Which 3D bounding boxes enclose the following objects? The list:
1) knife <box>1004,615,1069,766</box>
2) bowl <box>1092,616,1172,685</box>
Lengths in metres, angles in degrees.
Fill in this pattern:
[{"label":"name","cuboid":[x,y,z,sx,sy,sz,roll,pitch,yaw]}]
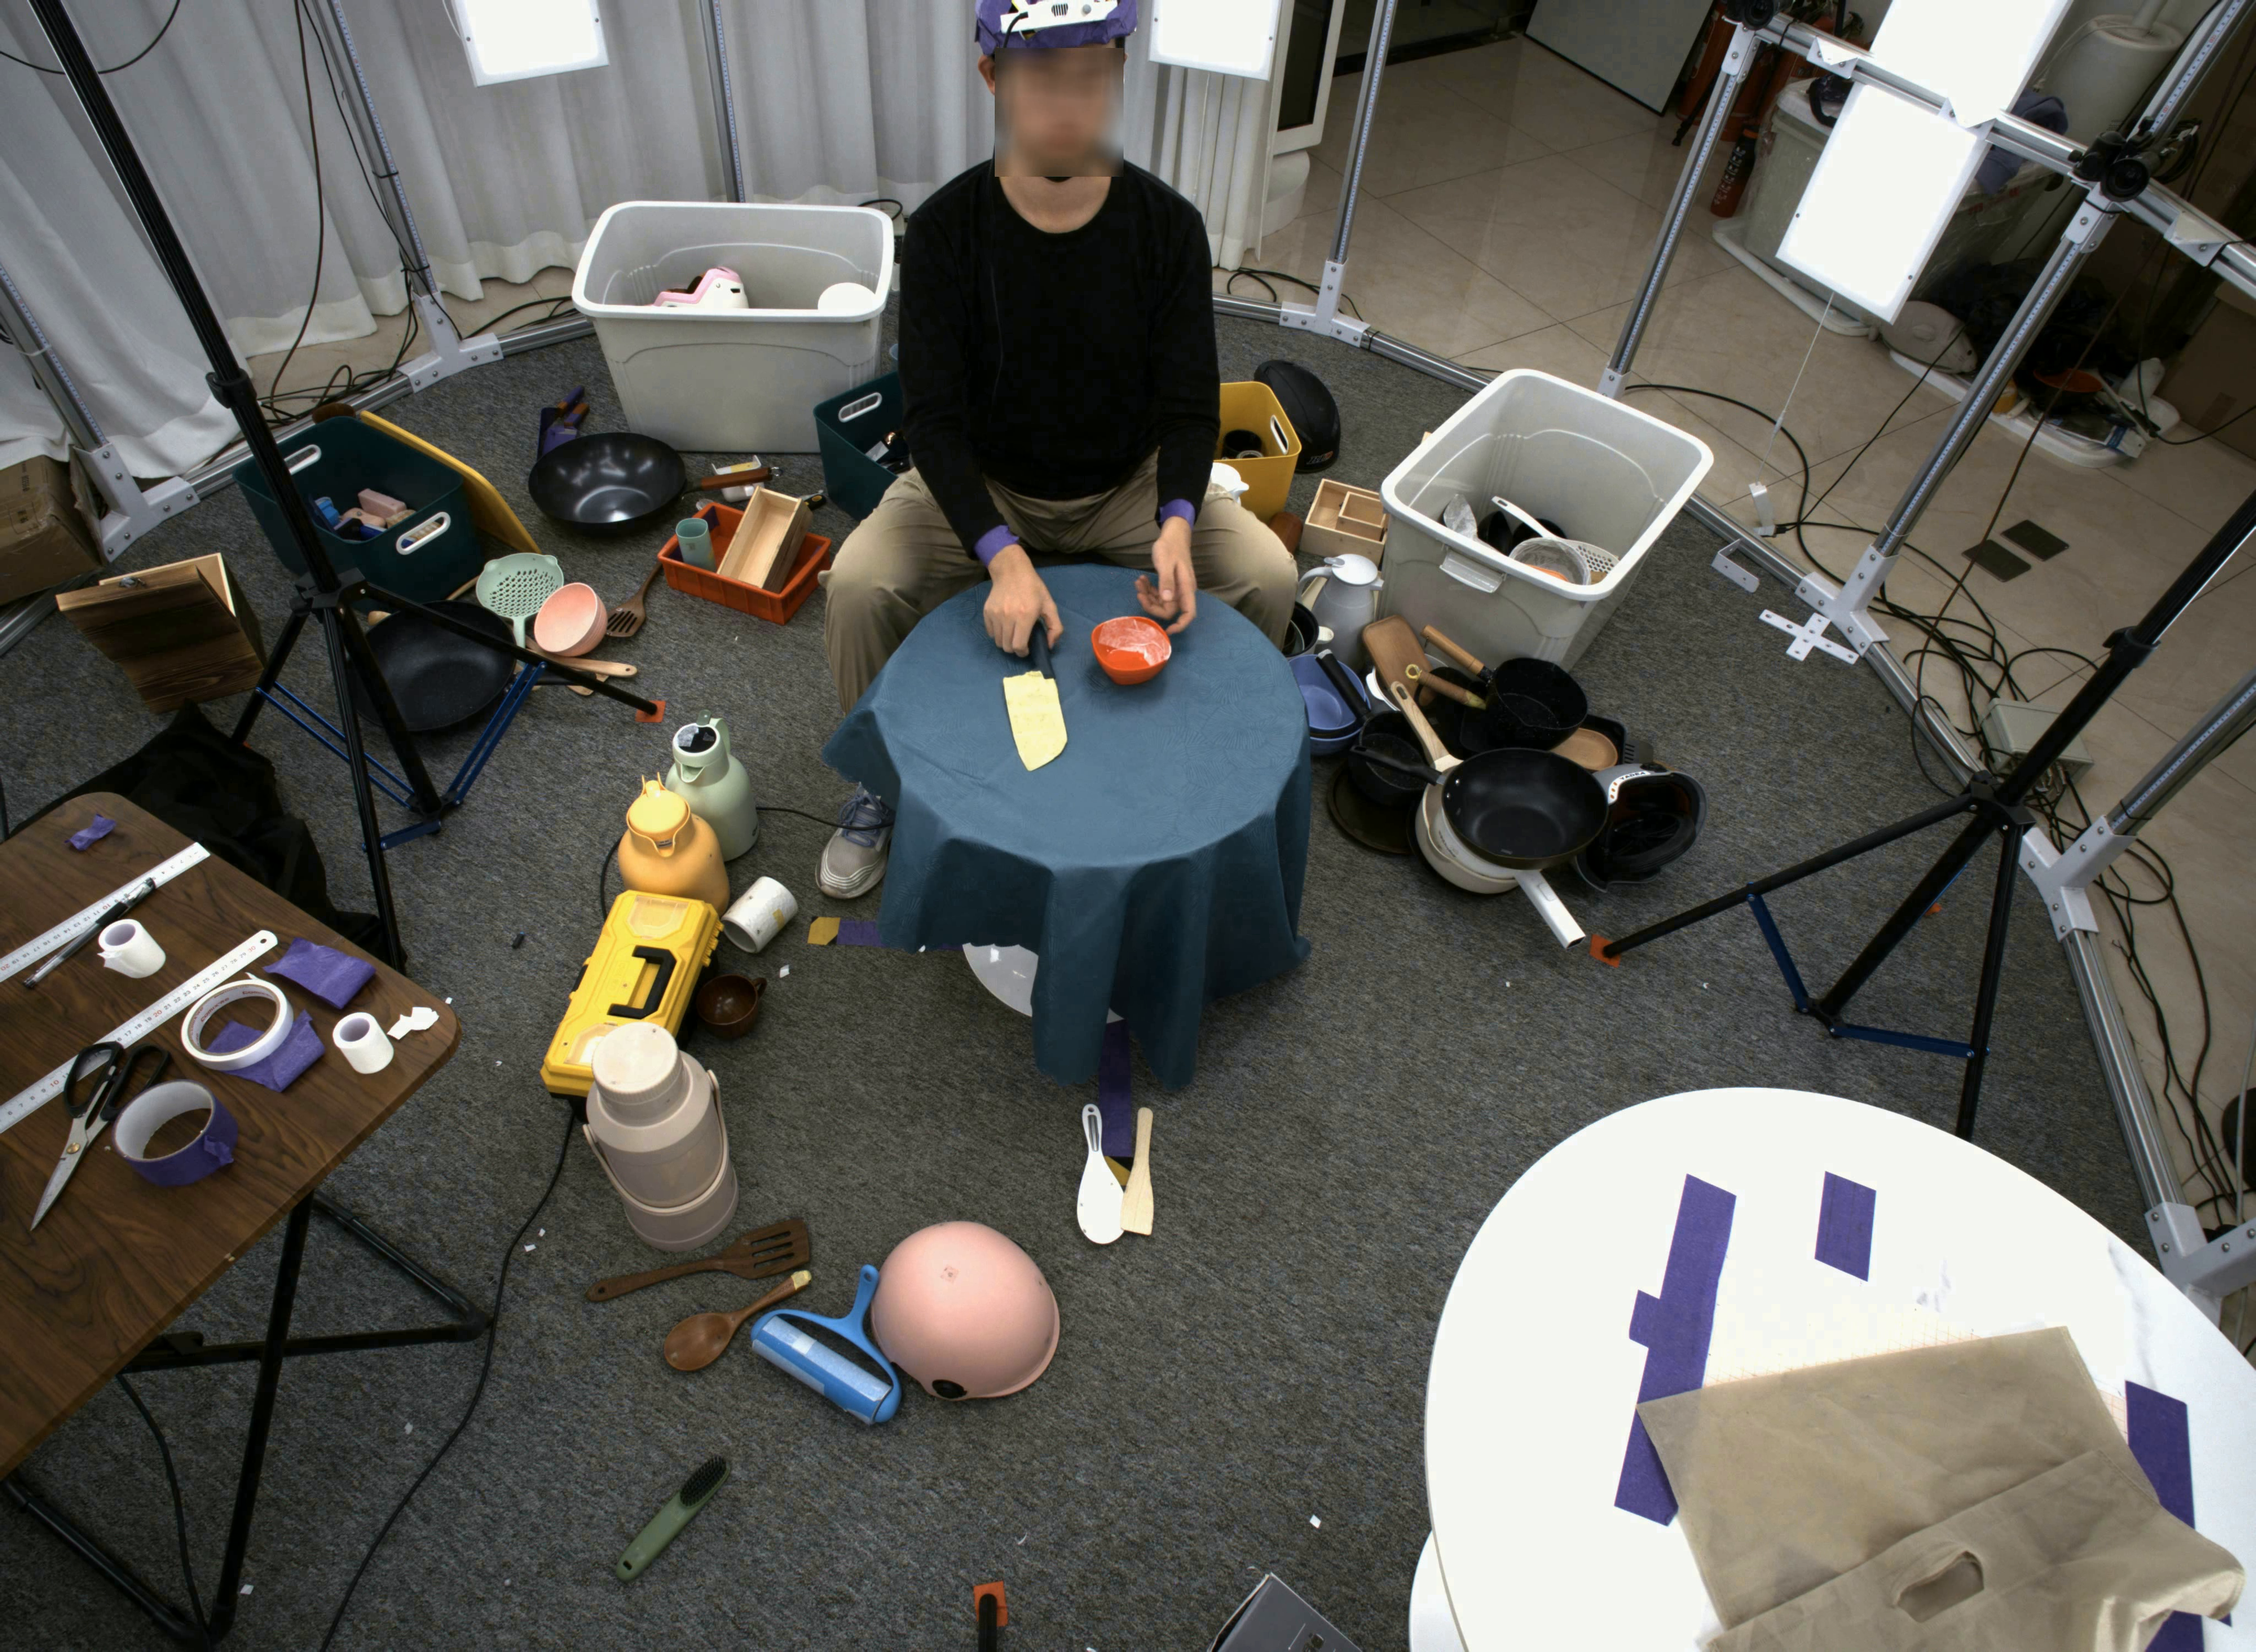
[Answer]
[{"label":"knife","cuboid":[-0.134,-0.194,1.819,0.081,0.026,0.297,-4,51,-7]},{"label":"bowl","cuboid":[0.004,-0.247,1.850,0.119,0.050,0.122,1,50,-1]}]
